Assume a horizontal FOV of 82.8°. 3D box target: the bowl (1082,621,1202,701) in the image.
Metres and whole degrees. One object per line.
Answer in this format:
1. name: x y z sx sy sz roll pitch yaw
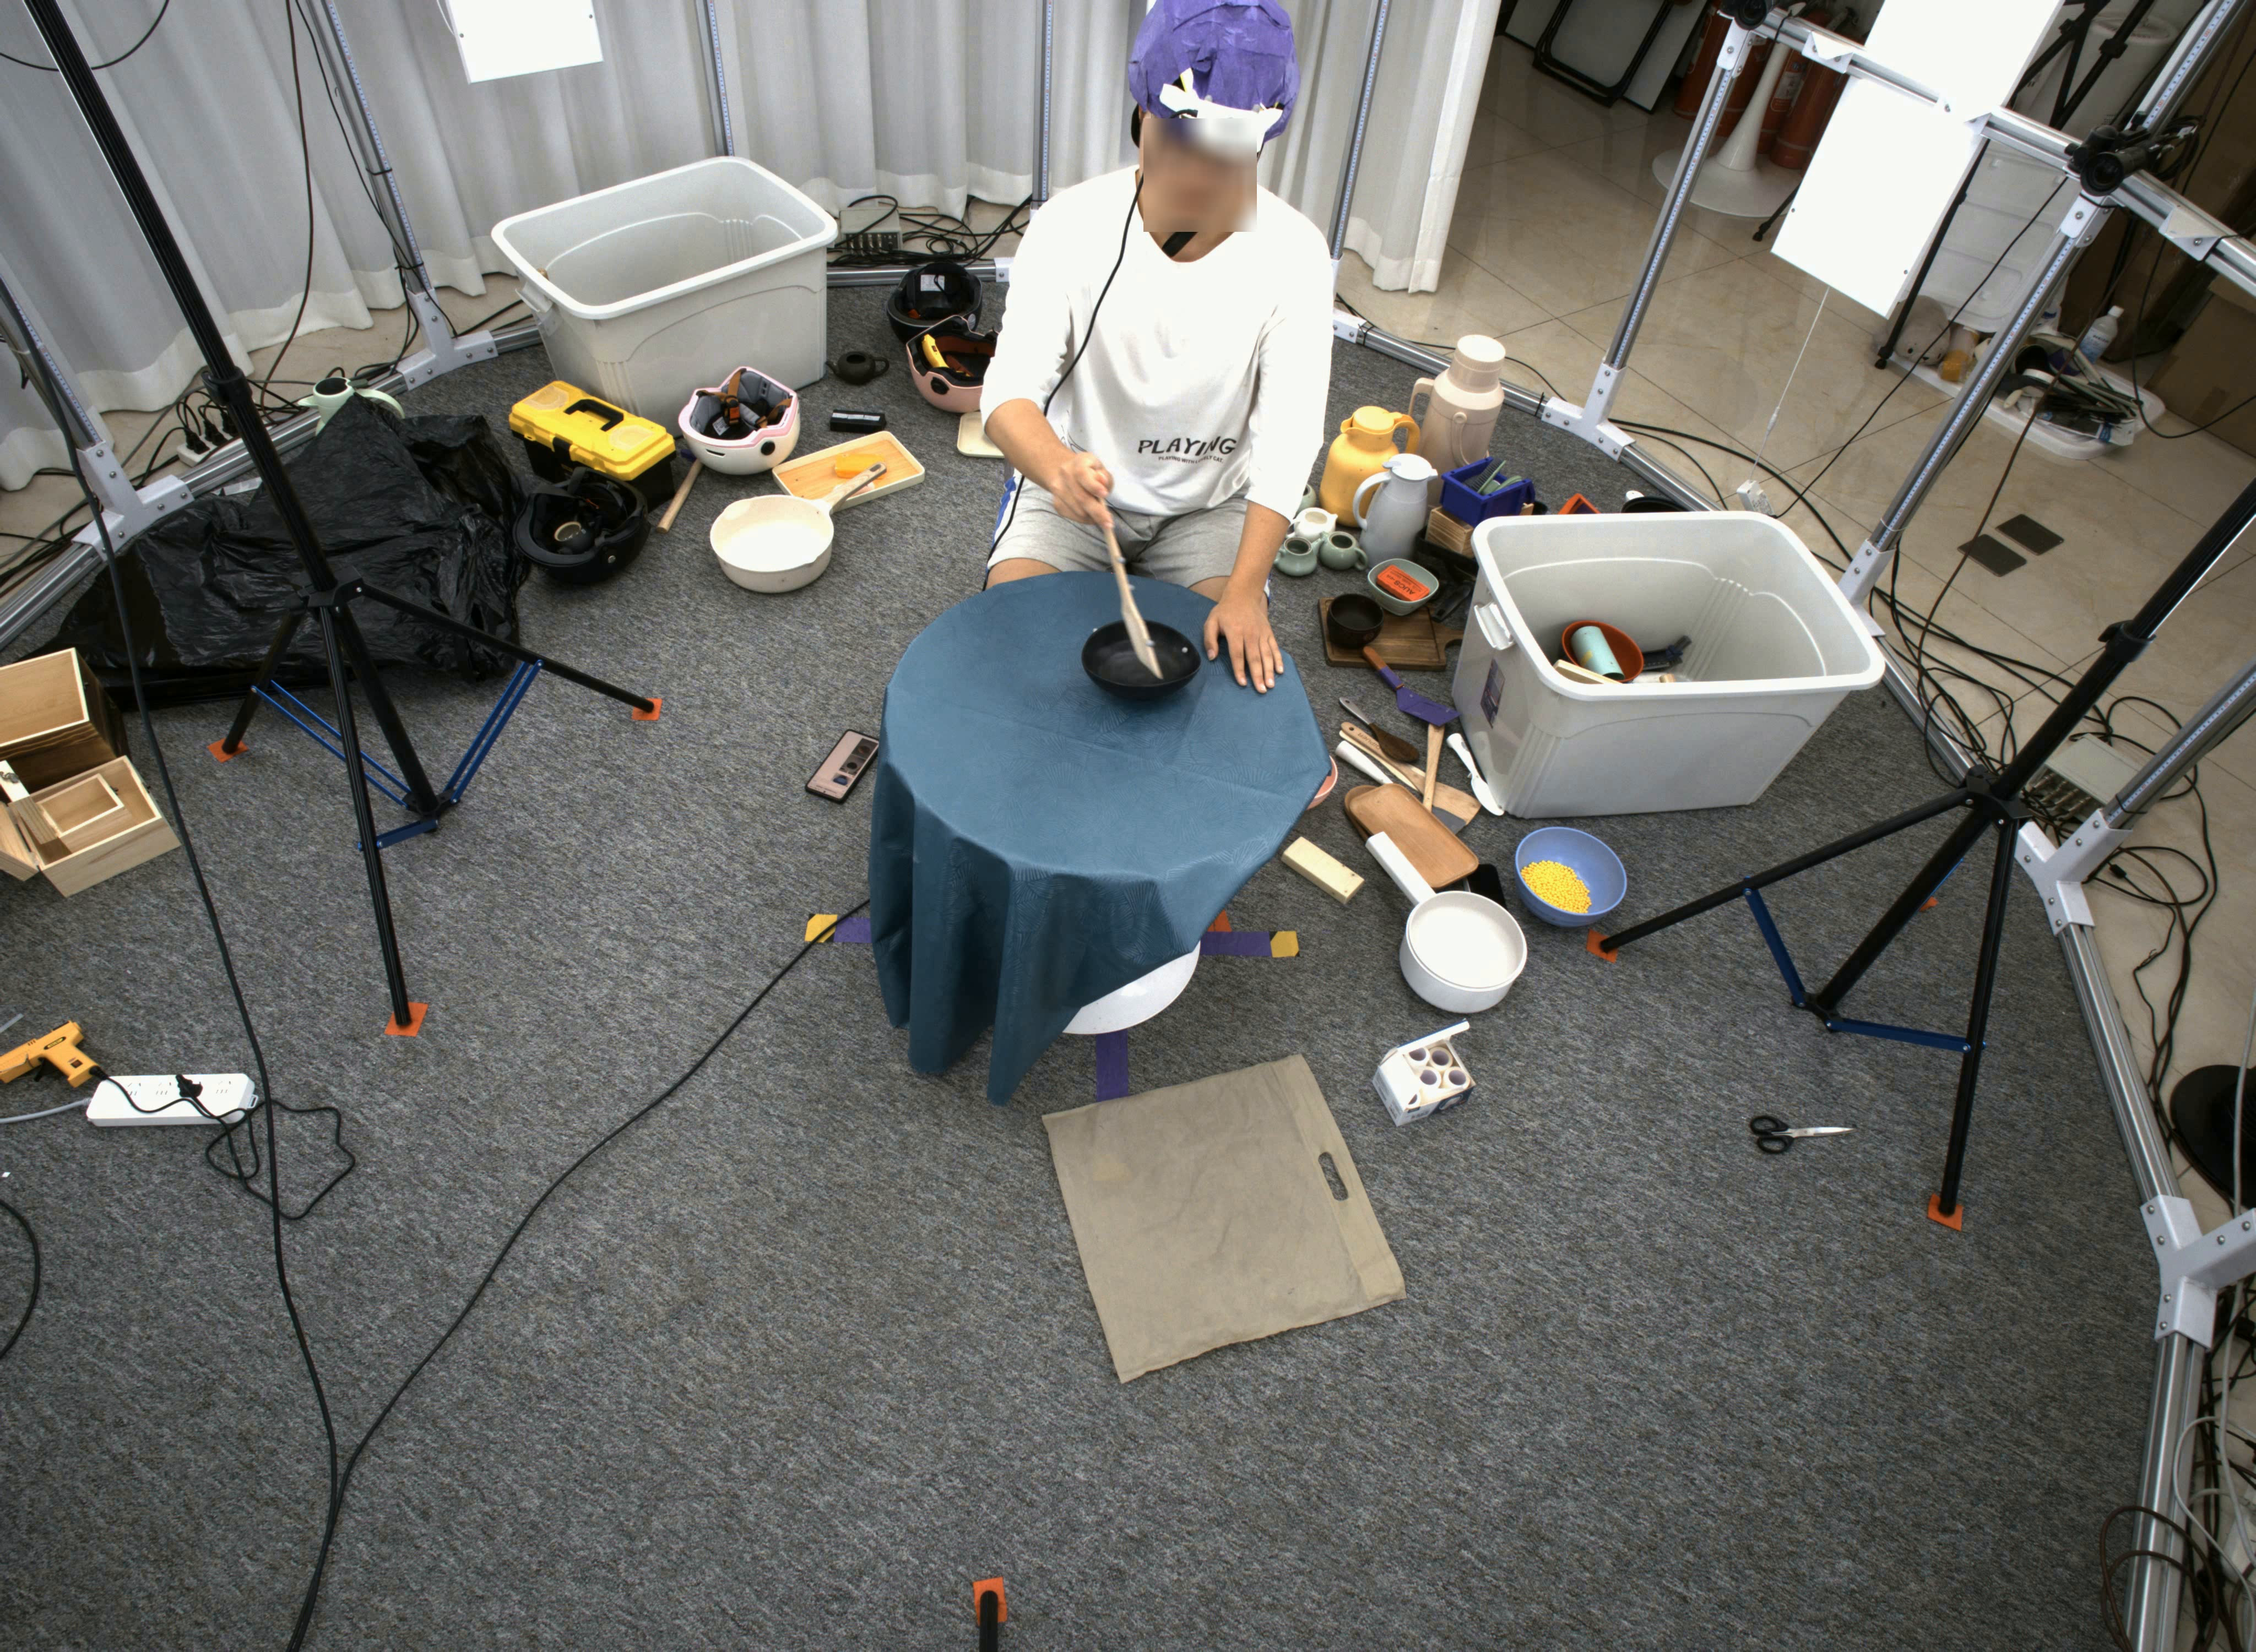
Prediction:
1. bowl: 0.018 -0.225 1.820 0.170 0.065 0.141 -3 49 -10

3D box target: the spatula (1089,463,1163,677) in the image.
1. spatula: -0.005 -0.322 1.632 0.010 0.286 0.074 -24 33 -10
